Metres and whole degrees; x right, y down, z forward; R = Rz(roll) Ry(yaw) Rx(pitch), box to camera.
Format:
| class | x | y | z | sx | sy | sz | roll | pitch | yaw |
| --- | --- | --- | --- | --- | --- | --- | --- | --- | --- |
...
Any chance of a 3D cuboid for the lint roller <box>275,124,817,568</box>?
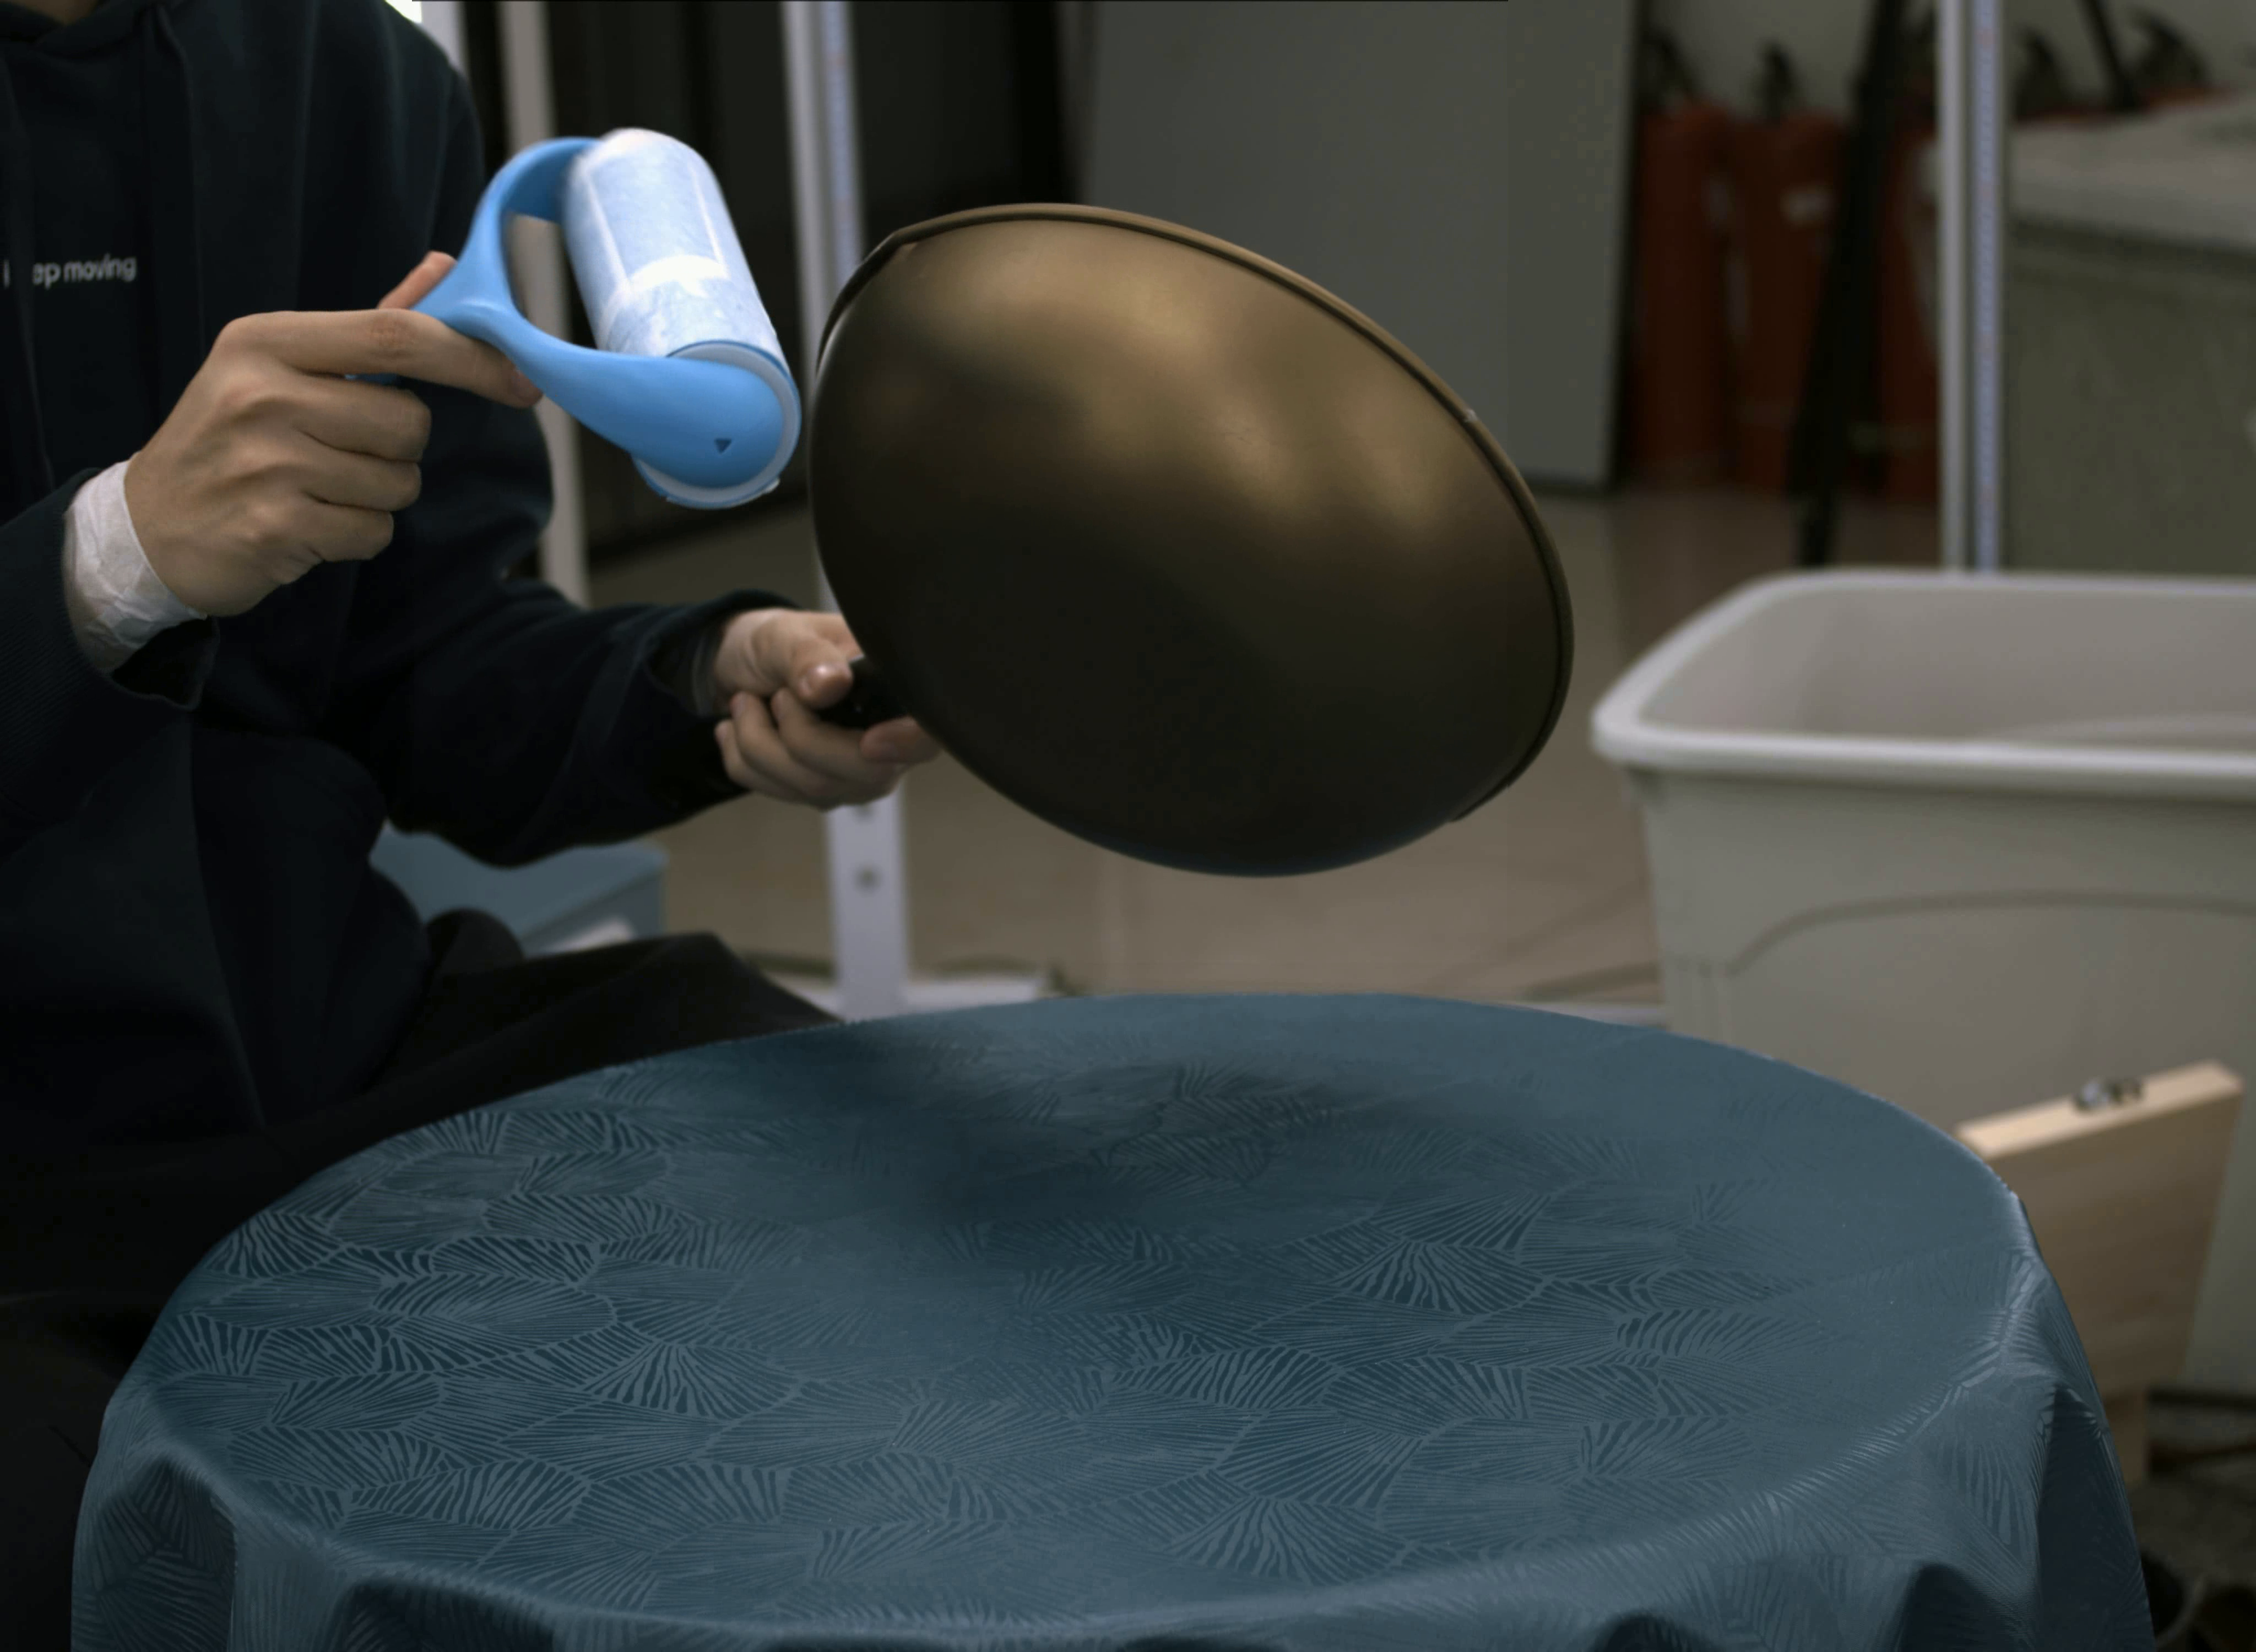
| class | x | y | z | sx | sy | sz | roll | pitch | yaw |
| --- | --- | --- | --- | --- | --- | --- | --- | --- | --- |
| lint roller | -0.190 | -0.141 | 1.671 | 0.178 | 0.068 | 0.231 | -23 | 28 | -3 |

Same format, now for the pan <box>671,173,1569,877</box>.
| class | x | y | z | sx | sy | sz | roll | pitch | yaw |
| --- | --- | --- | --- | --- | --- | --- | --- | --- | --- |
| pan | -0.050 | -0.051 | 1.856 | 0.468 | 0.286 | 0.086 | -27 | 24 | 49 |
